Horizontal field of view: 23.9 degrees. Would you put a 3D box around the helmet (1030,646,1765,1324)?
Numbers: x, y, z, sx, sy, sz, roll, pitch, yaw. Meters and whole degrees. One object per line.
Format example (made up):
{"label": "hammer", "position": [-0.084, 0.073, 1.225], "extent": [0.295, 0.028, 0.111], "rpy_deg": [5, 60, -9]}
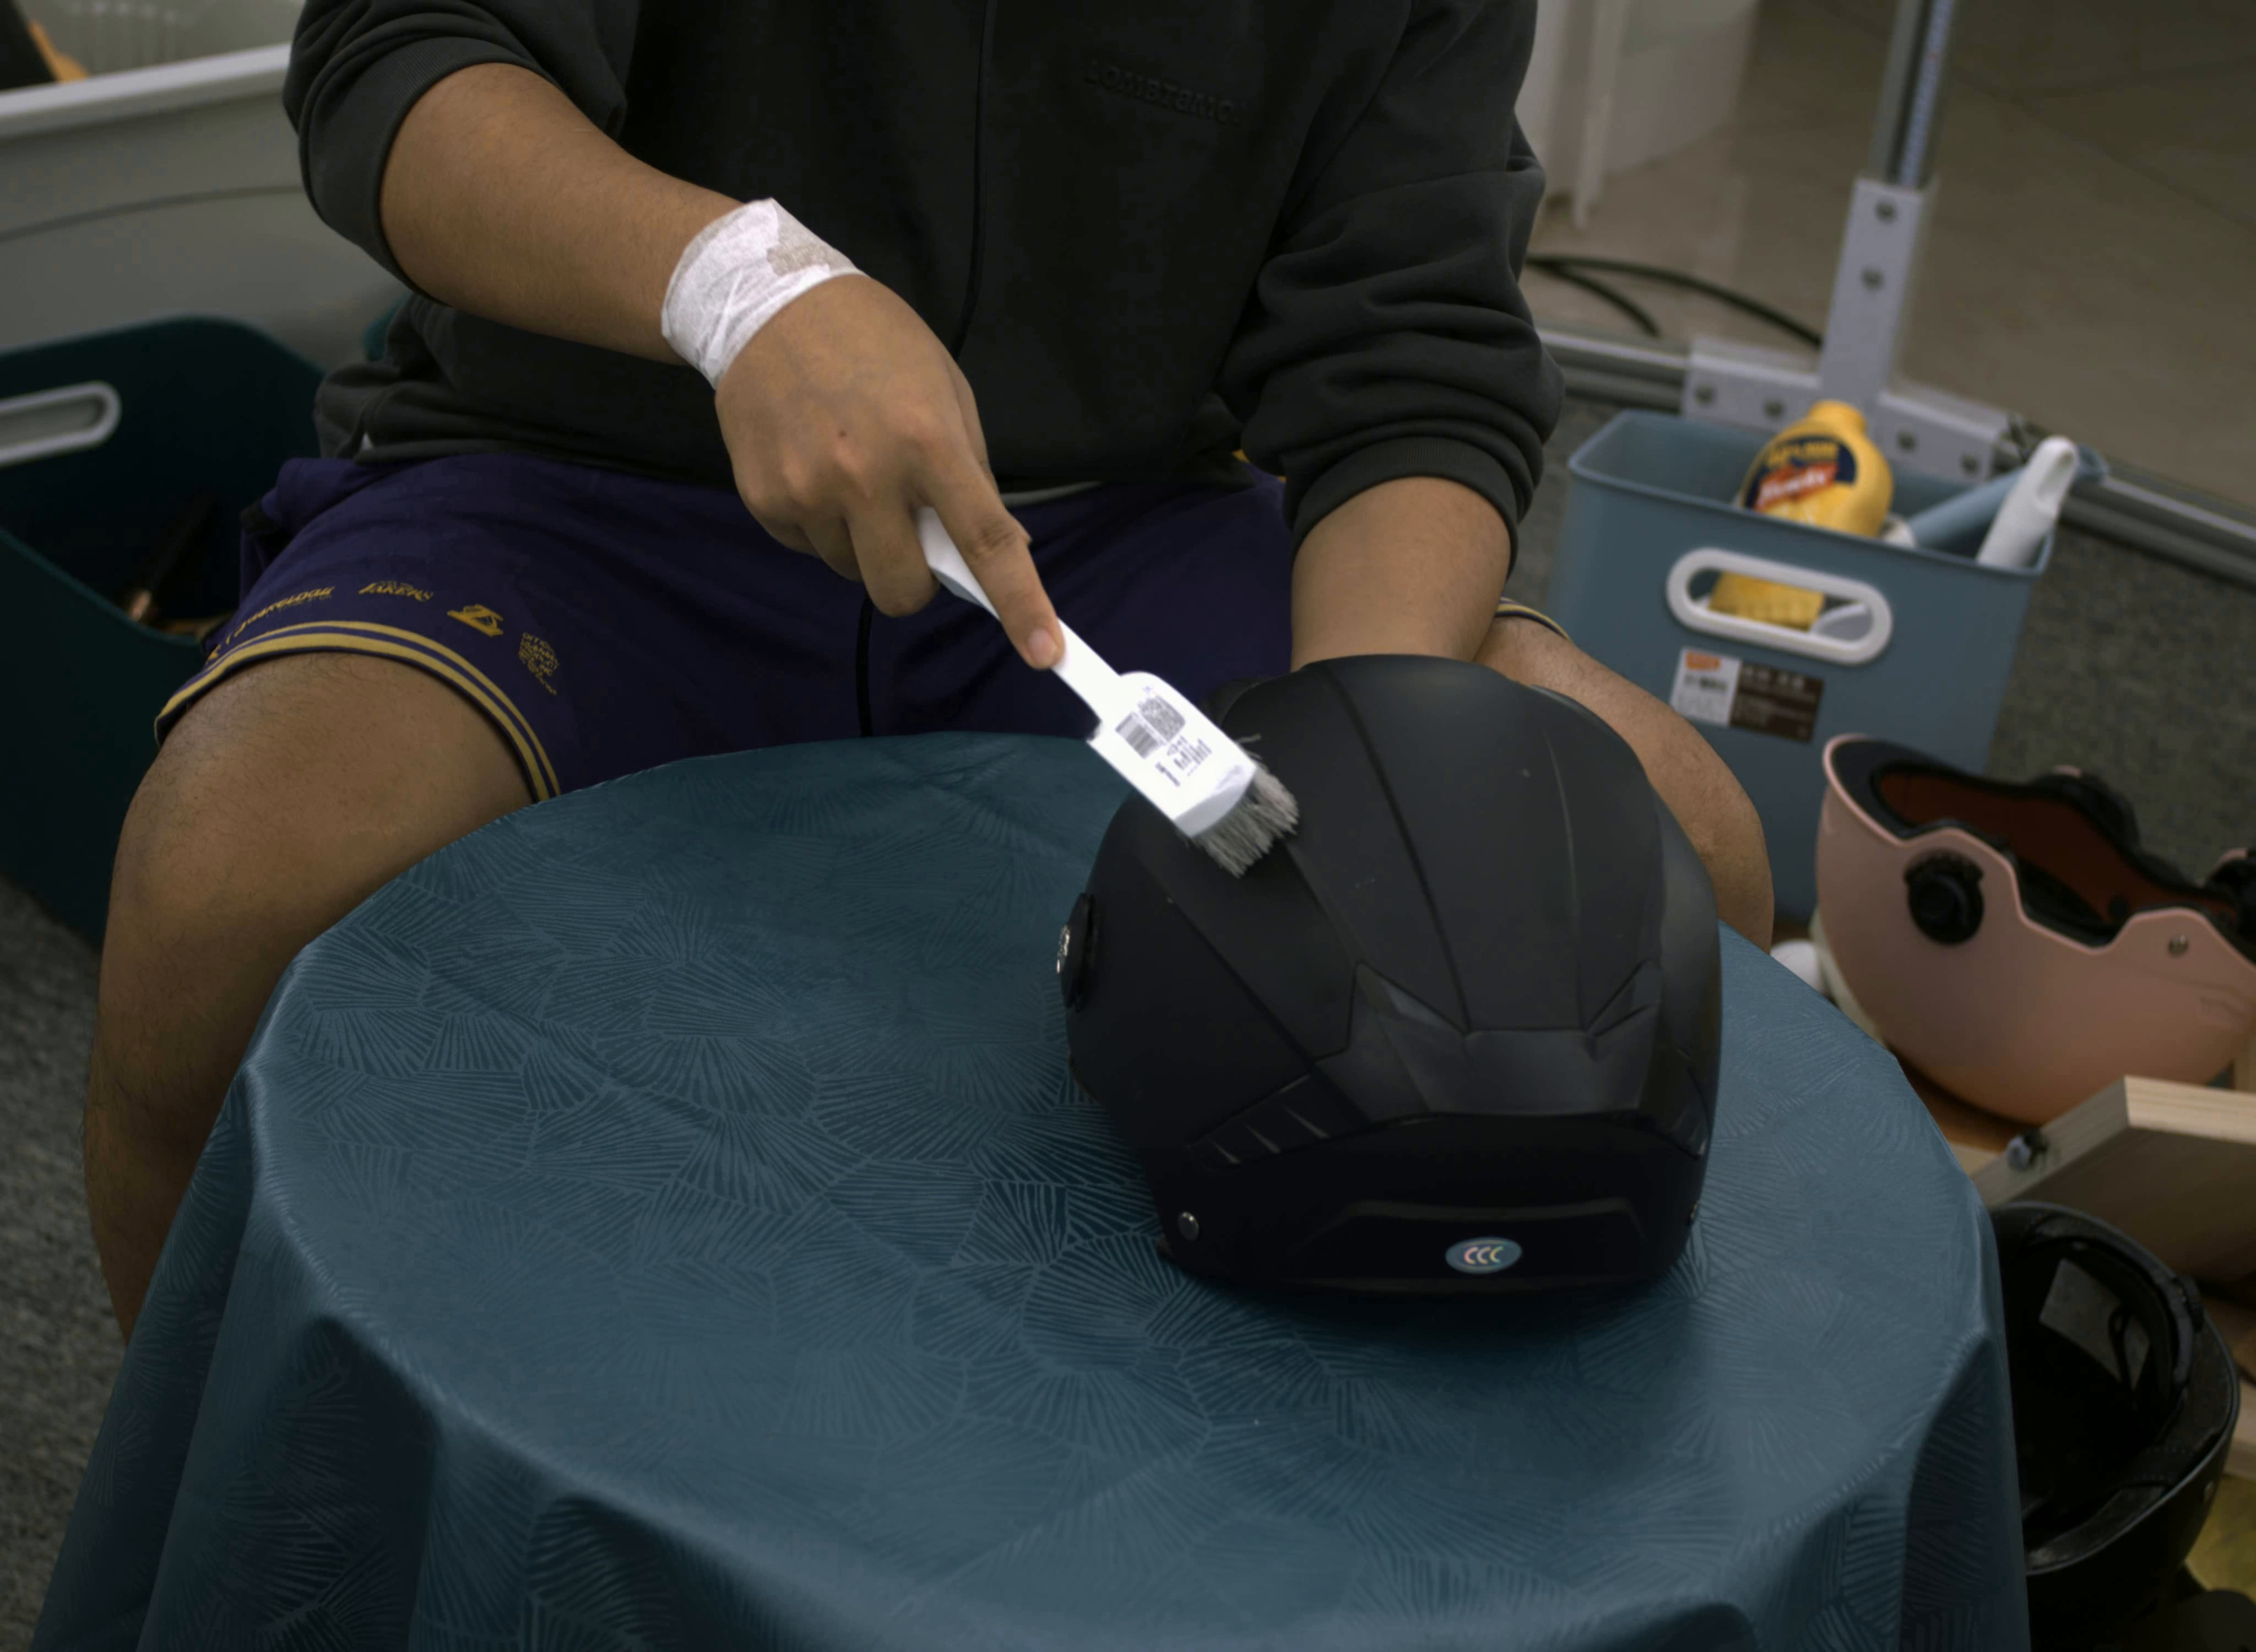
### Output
{"label": "helmet", "position": [0.100, 0.034, 1.794], "extent": [0.245, 0.172, 0.279], "rpy_deg": [2, 43, -12]}

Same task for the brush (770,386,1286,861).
{"label": "brush", "position": [-0.035, -0.070, 1.779], "extent": [0.246, 0.034, 0.050], "rpy_deg": [42, -1, 33]}
